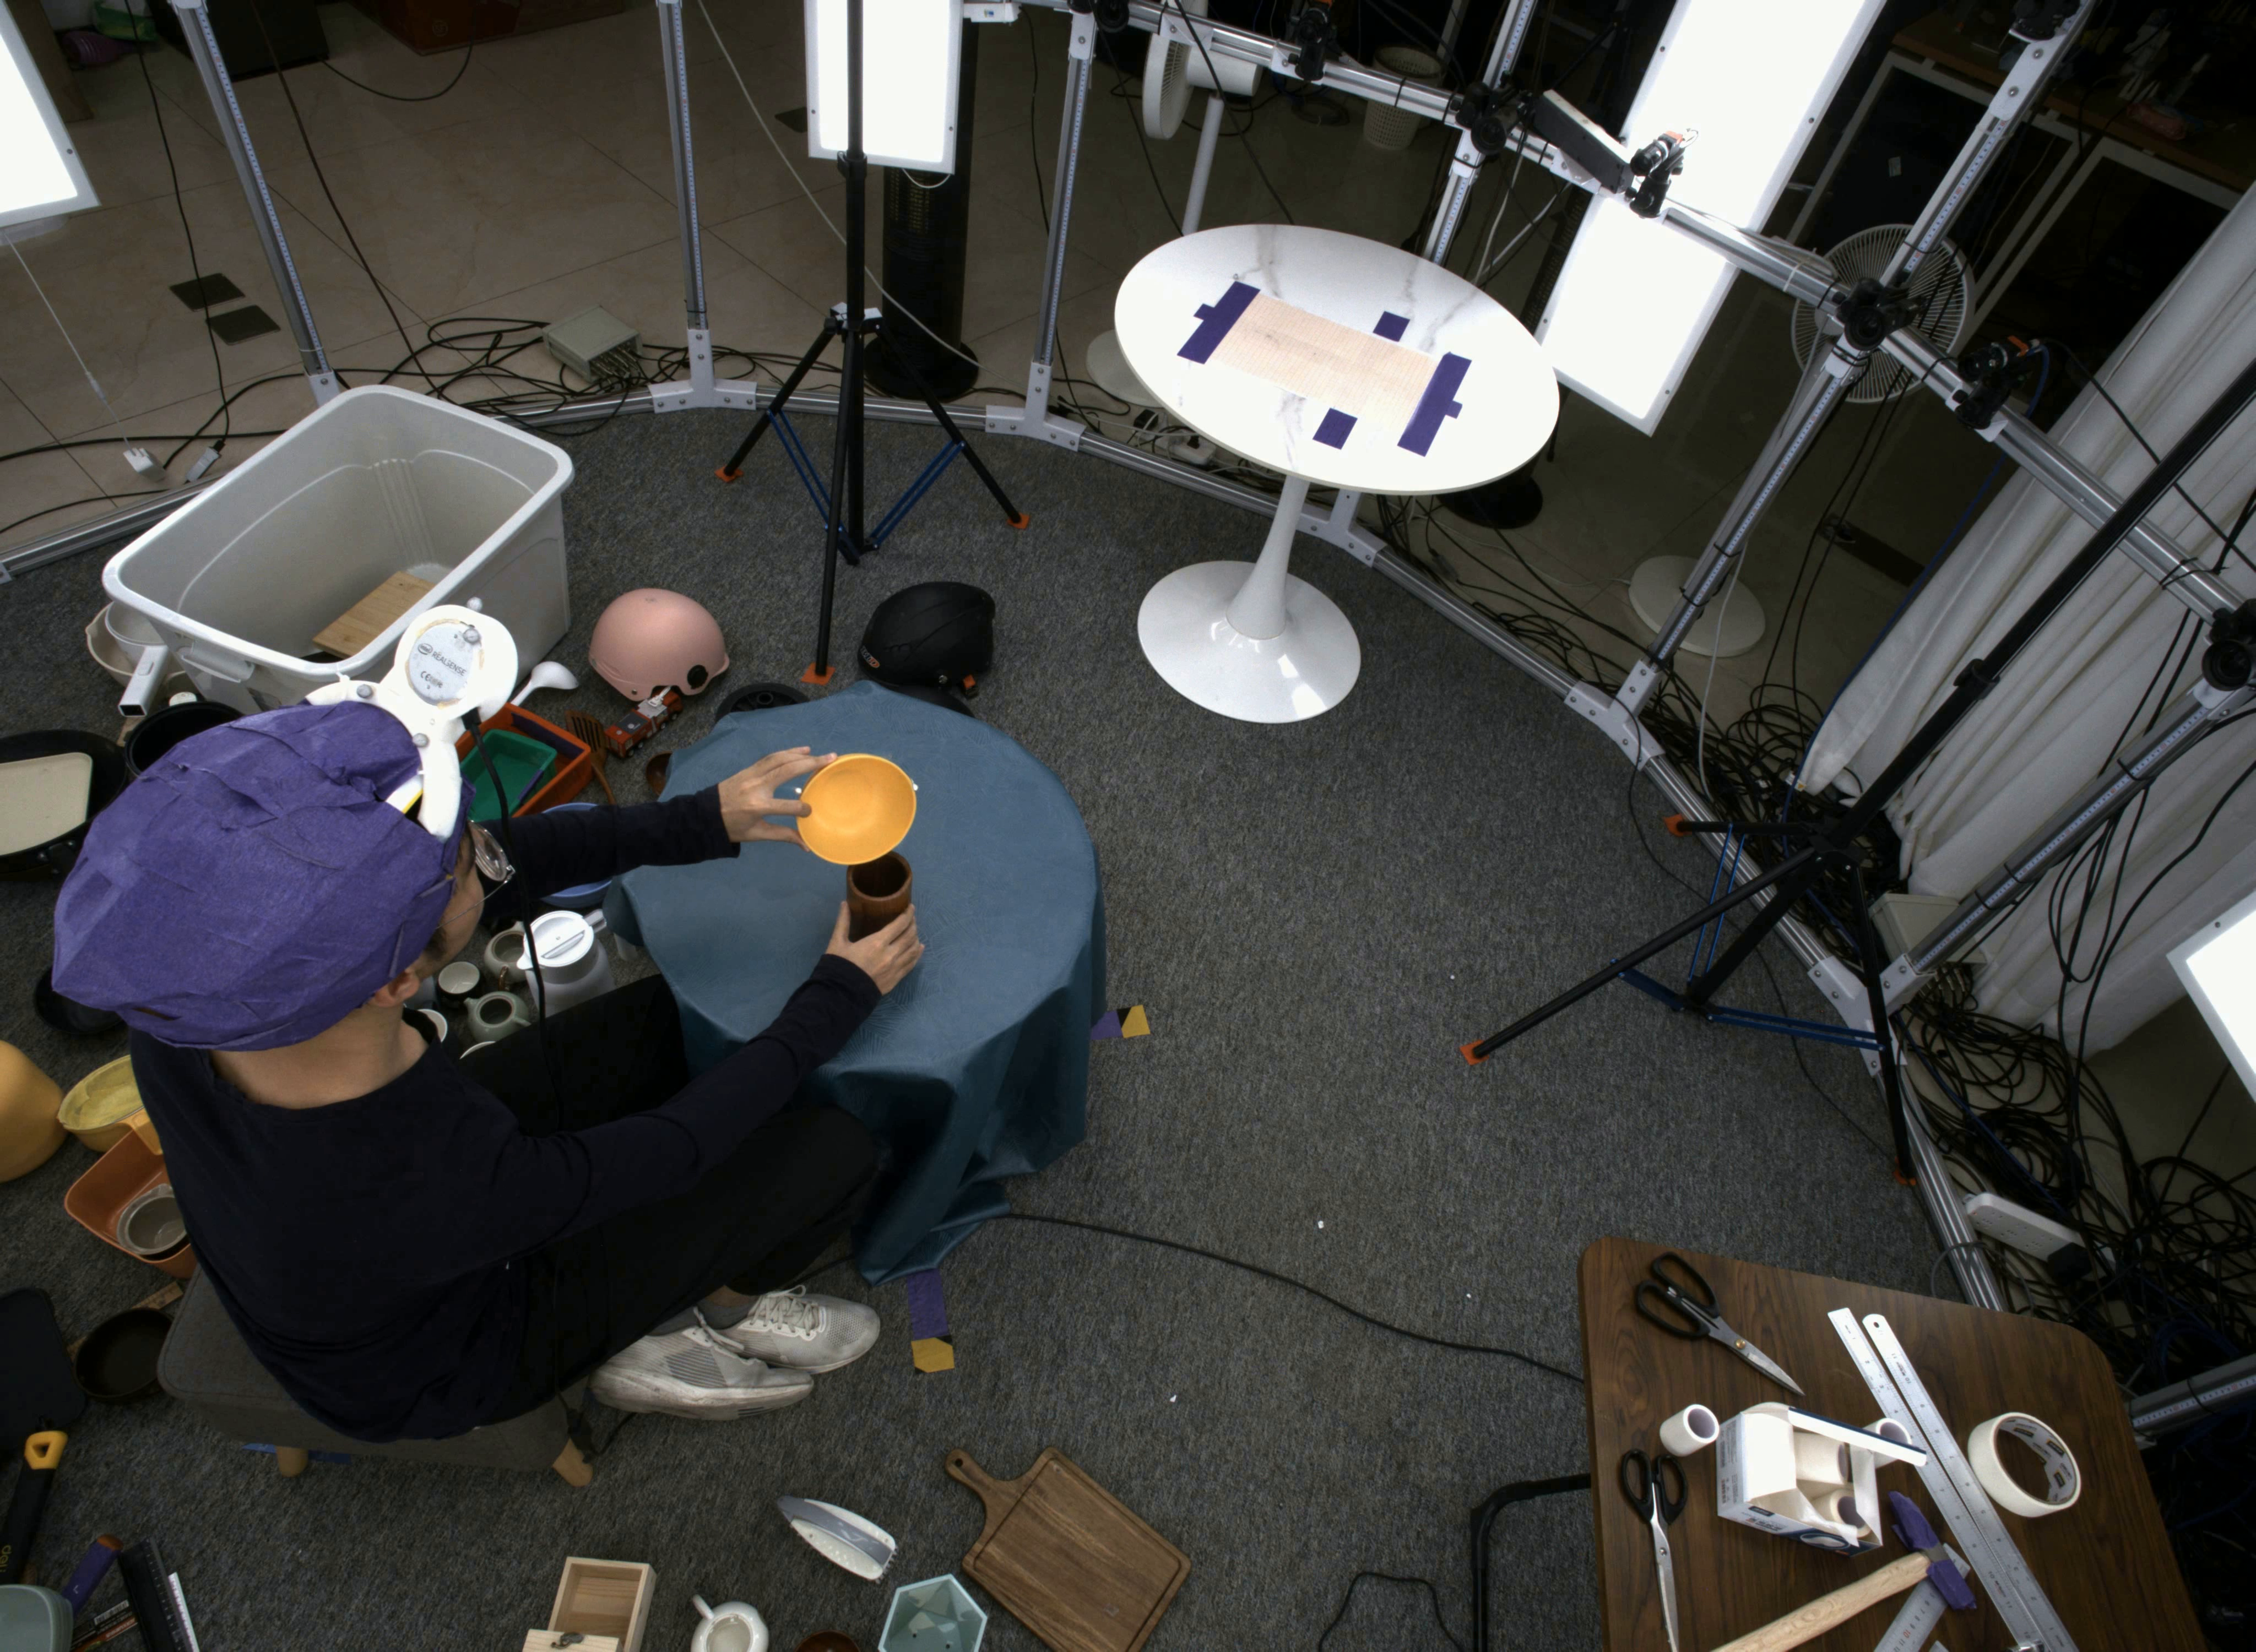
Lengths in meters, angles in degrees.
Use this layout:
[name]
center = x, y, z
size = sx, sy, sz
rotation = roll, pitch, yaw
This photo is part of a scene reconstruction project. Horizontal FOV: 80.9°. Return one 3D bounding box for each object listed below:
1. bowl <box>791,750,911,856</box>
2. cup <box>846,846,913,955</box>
[bowl]
center = -0.337, -0.040, 1.553
size = 0.146, 0.149, 0.058
rotation = -13, 44, -21
[cup]
center = -0.307, 0.092, 1.610
size = 0.087, 0.121, 0.086
rotation = 5, 50, -5
